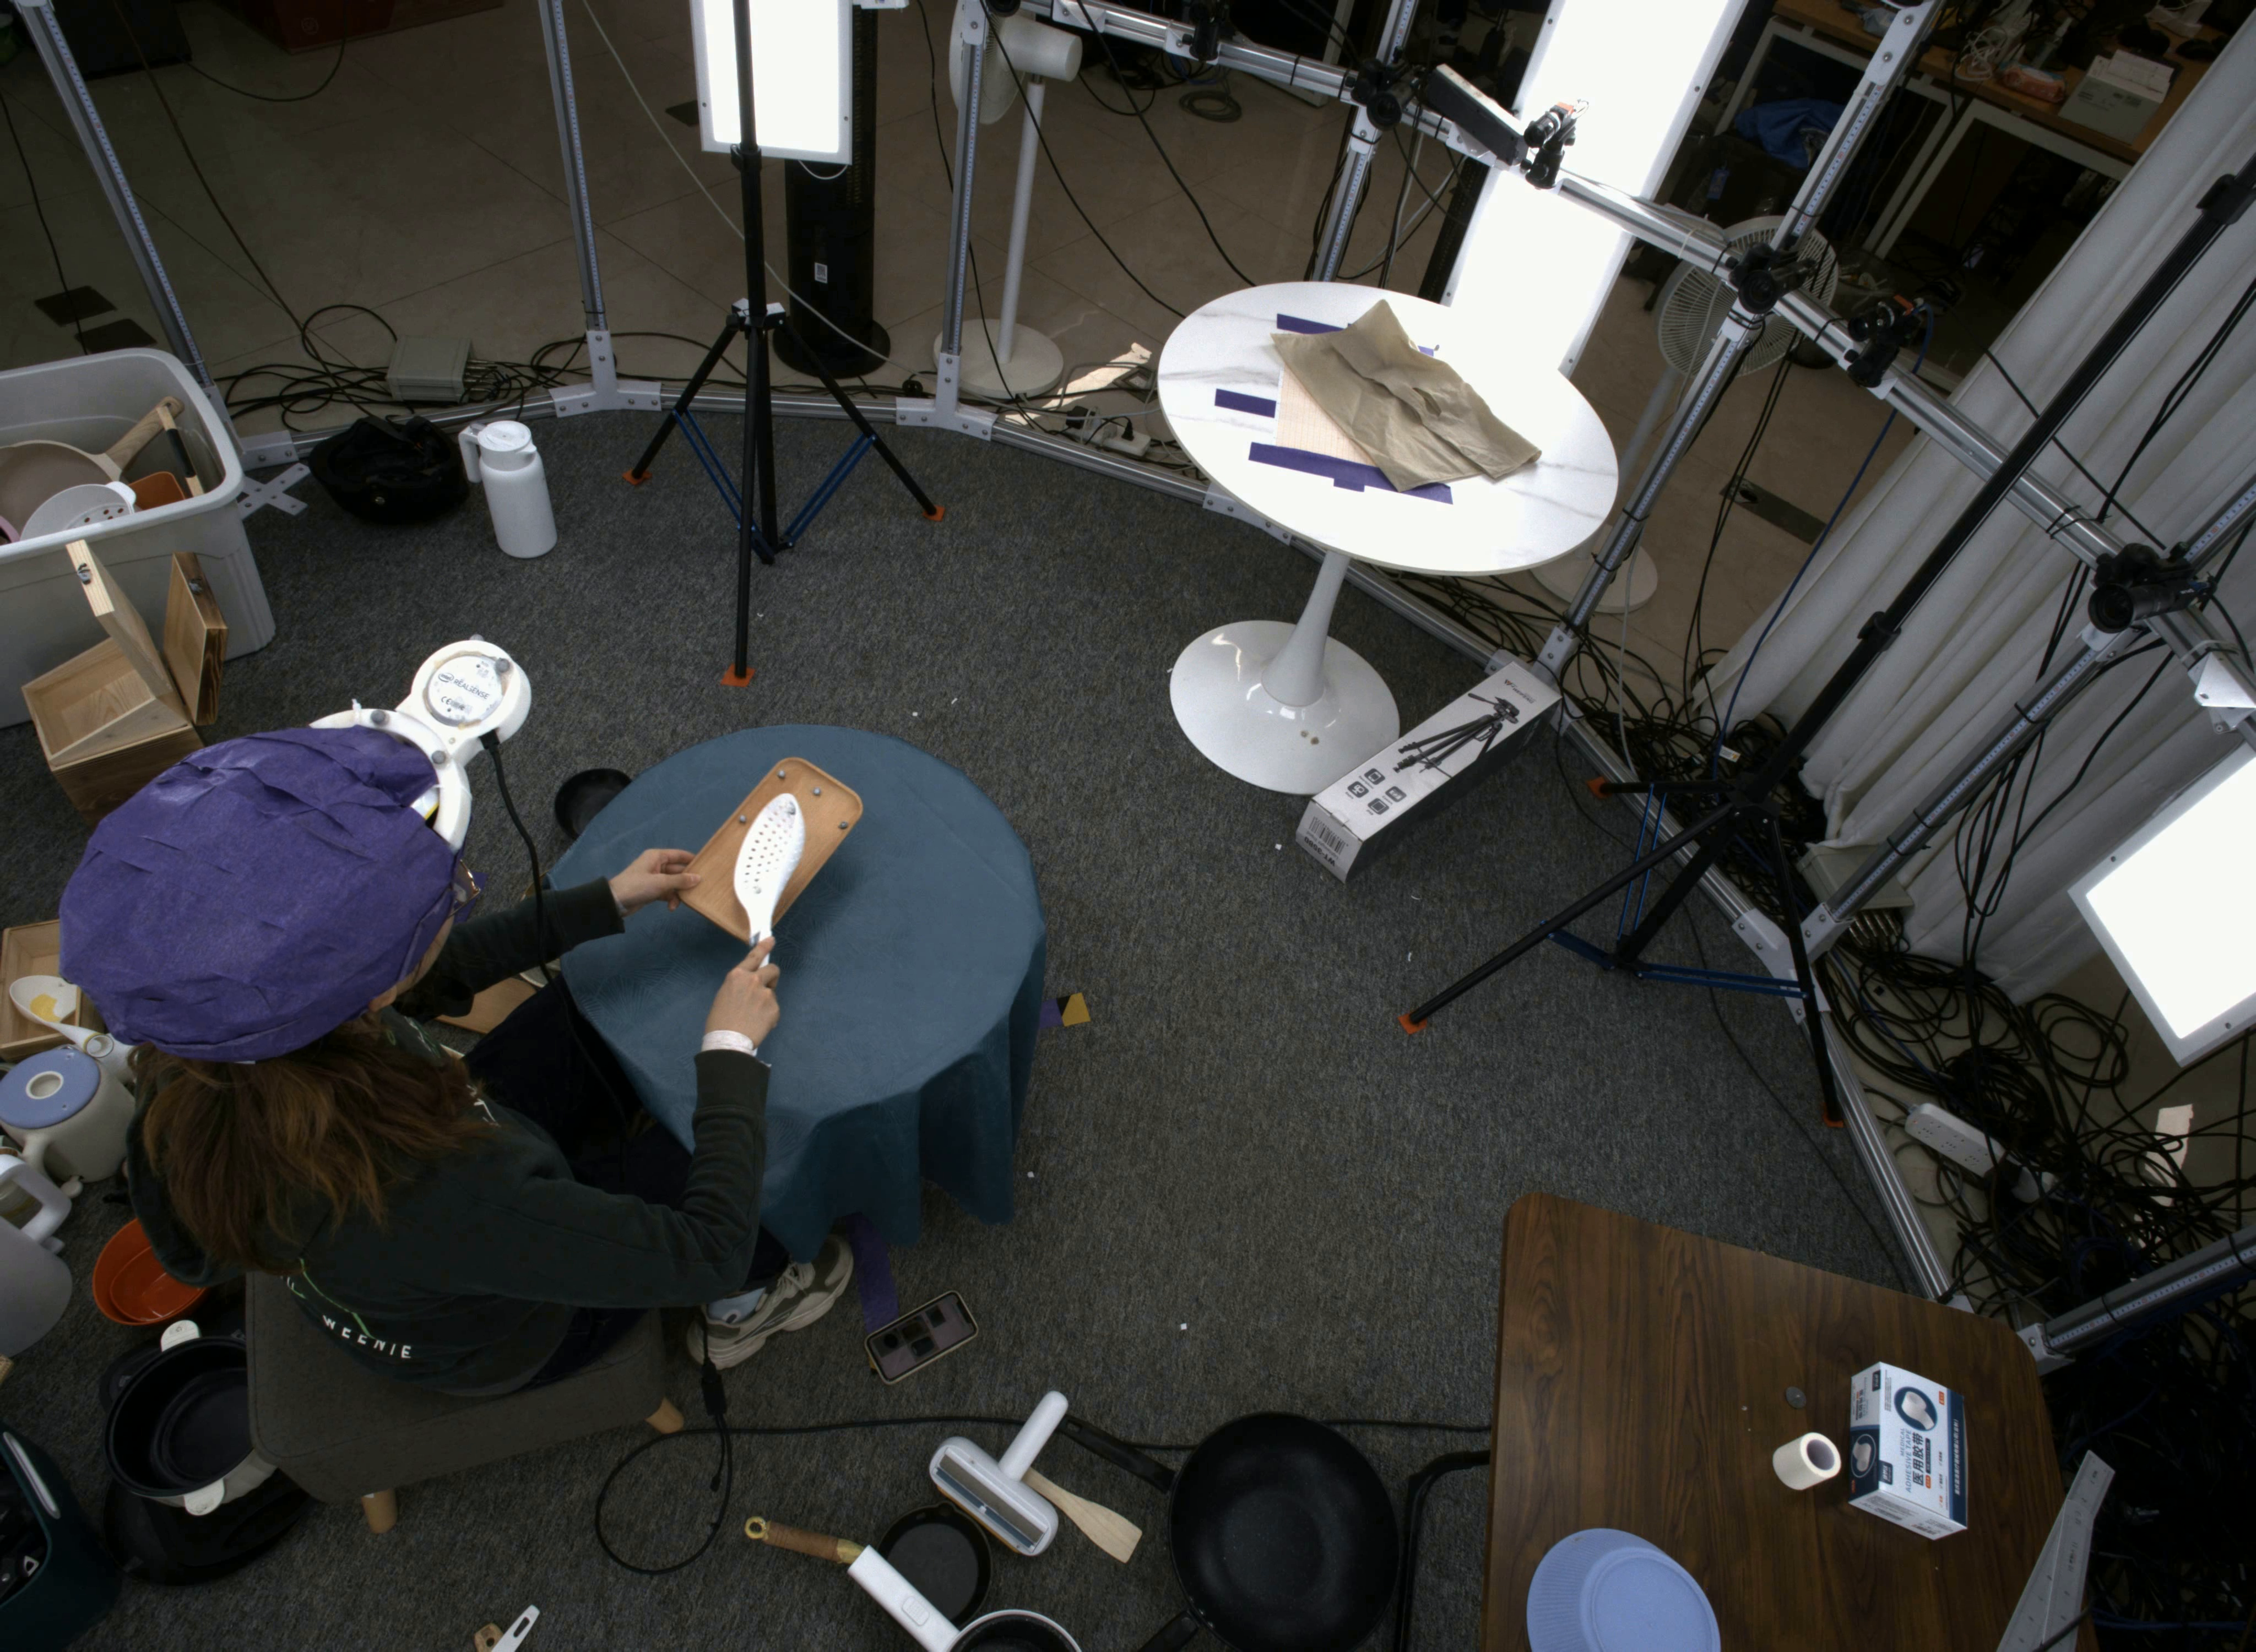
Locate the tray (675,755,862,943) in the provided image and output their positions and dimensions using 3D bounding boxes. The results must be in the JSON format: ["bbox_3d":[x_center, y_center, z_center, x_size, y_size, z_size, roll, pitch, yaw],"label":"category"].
[{"bbox_3d":[-0.439,0.024,1.594,0.130,0.023,0.249,33,57,-2],"label":"tray"}]

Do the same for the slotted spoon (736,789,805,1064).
[{"bbox_3d":[-0.414,0.106,1.466,0.047,0.135,0.343,29,42,-30],"label":"slotted spoon"}]
